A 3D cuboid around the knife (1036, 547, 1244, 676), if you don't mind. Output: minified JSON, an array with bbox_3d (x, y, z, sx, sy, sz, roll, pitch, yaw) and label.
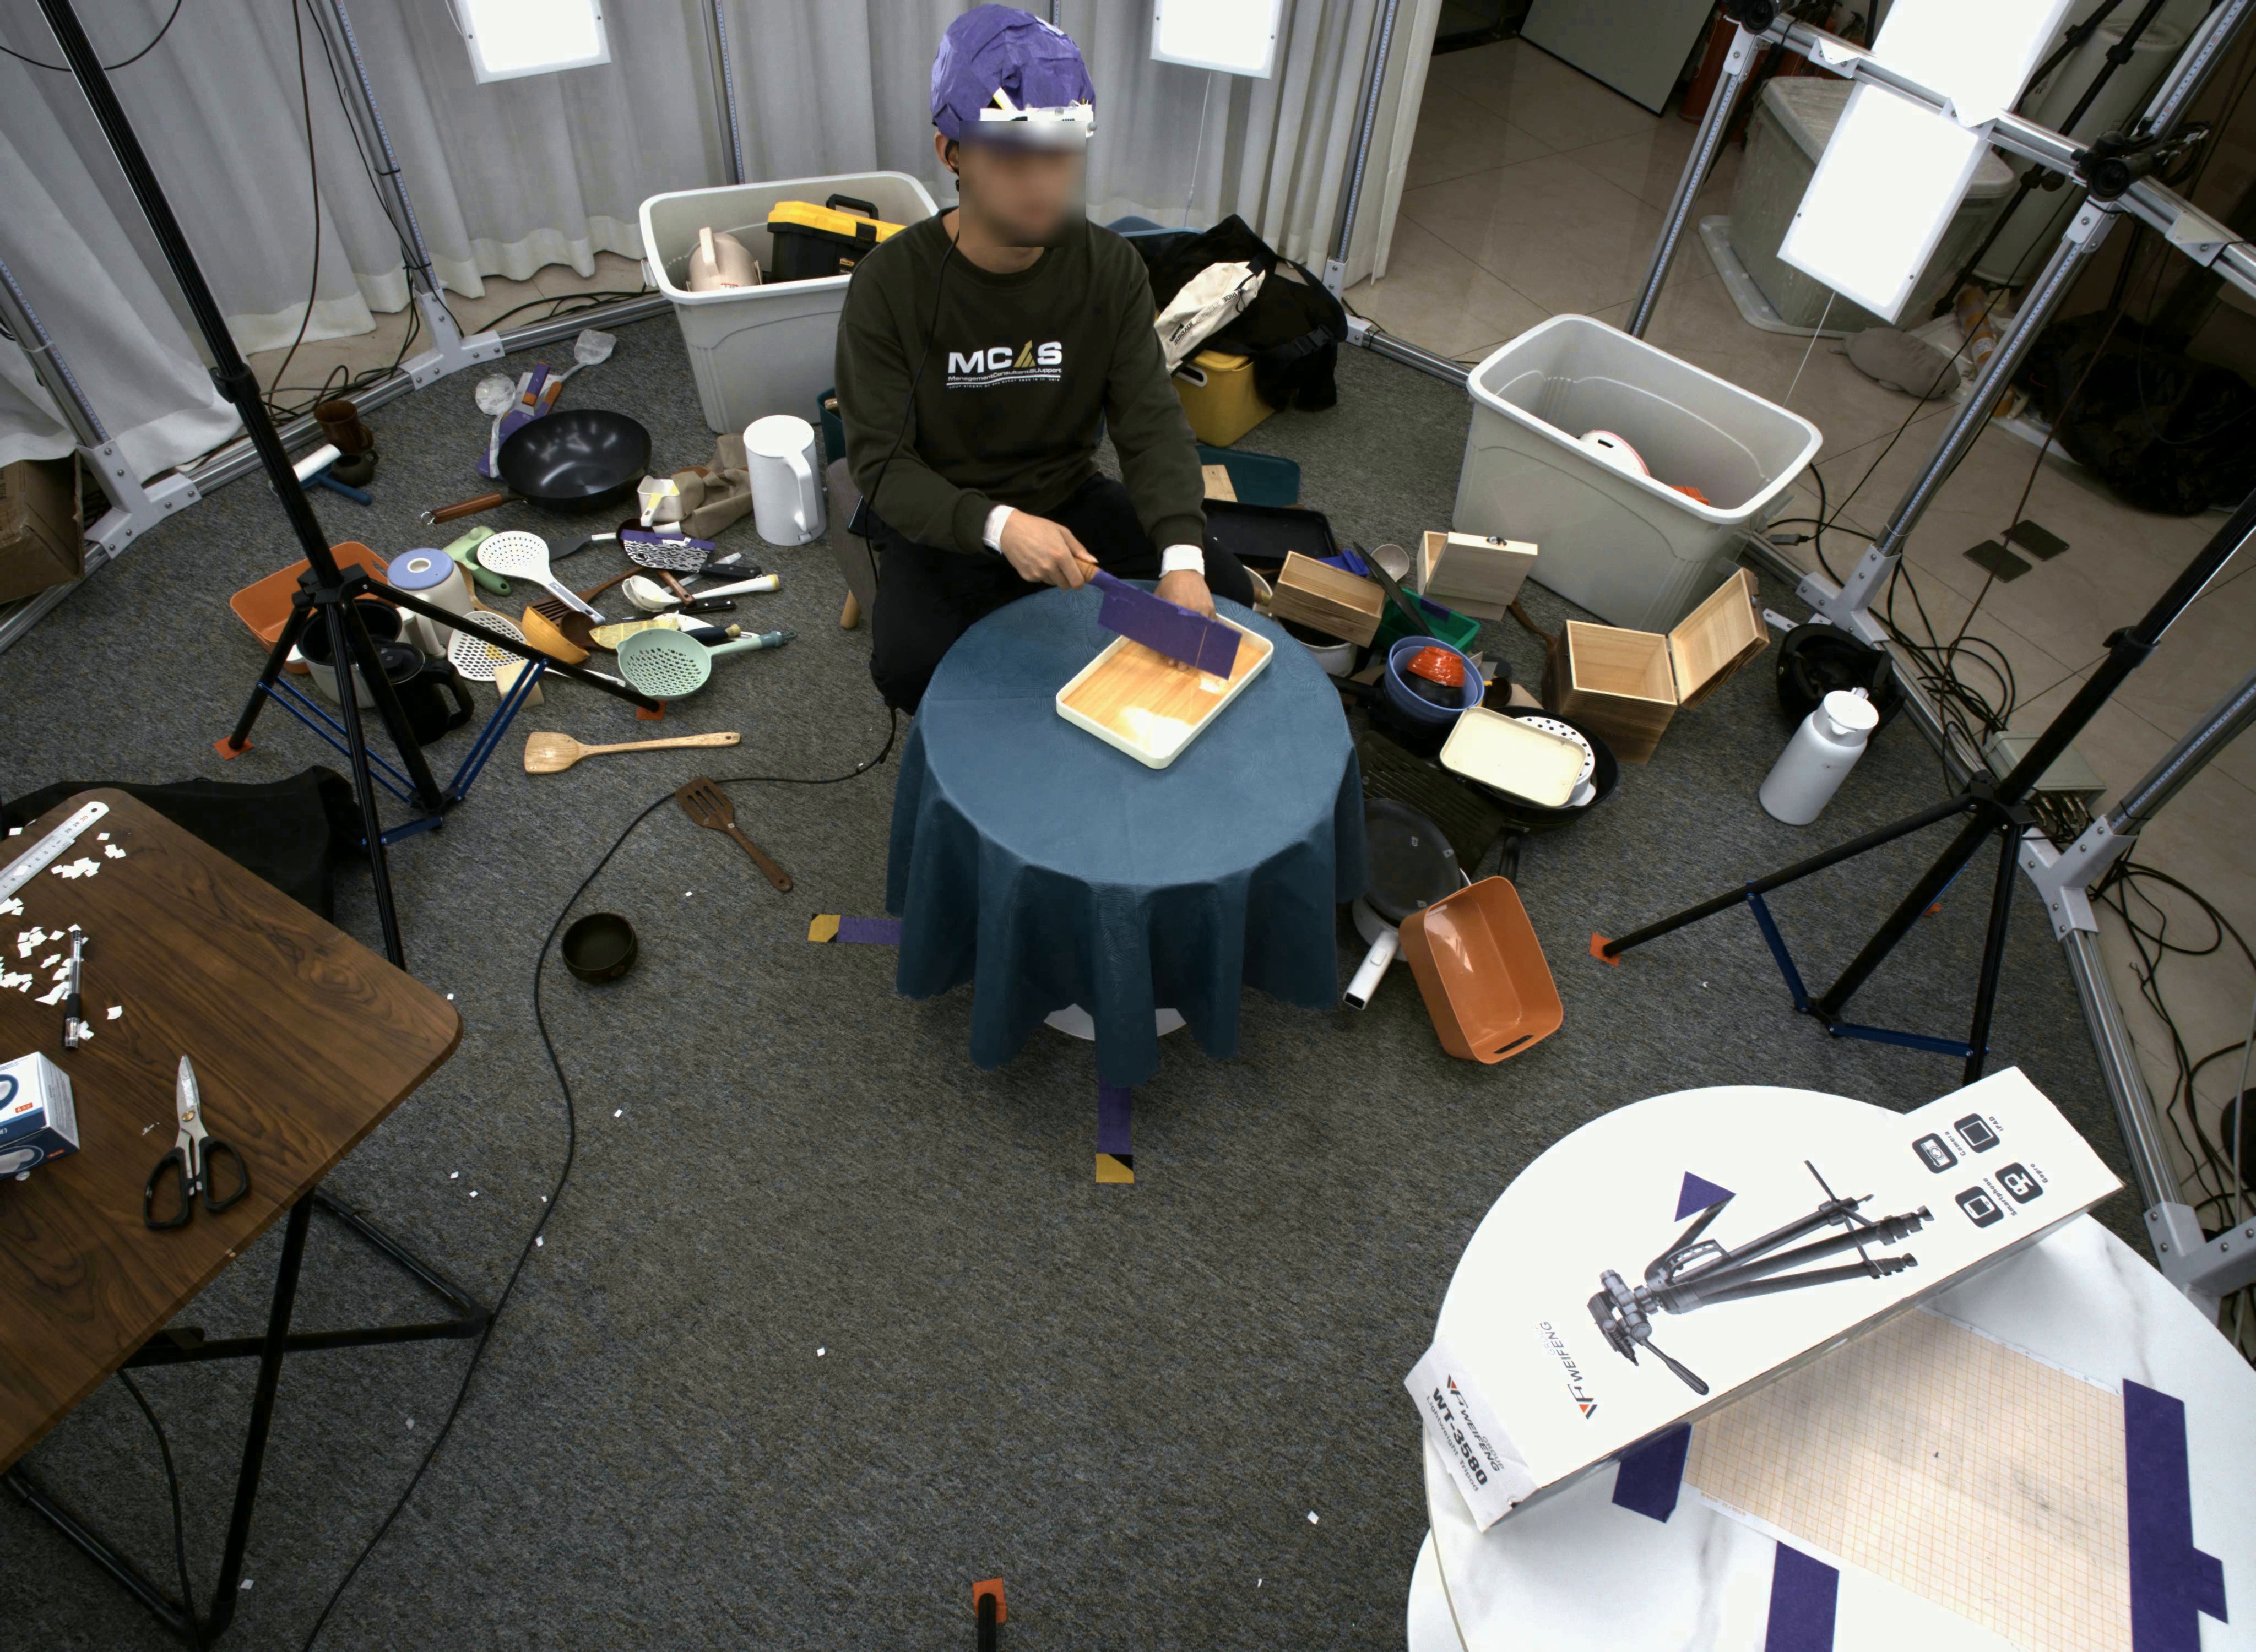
[{"bbox_3d":[0.010,-0.298,1.820,0.317,0.101,0.033,26,45,11],"label":"knife"}]

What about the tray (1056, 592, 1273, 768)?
[{"bbox_3d":[0.055,-0.216,1.839,0.193,0.027,0.304,31,54,20],"label":"tray"}]
